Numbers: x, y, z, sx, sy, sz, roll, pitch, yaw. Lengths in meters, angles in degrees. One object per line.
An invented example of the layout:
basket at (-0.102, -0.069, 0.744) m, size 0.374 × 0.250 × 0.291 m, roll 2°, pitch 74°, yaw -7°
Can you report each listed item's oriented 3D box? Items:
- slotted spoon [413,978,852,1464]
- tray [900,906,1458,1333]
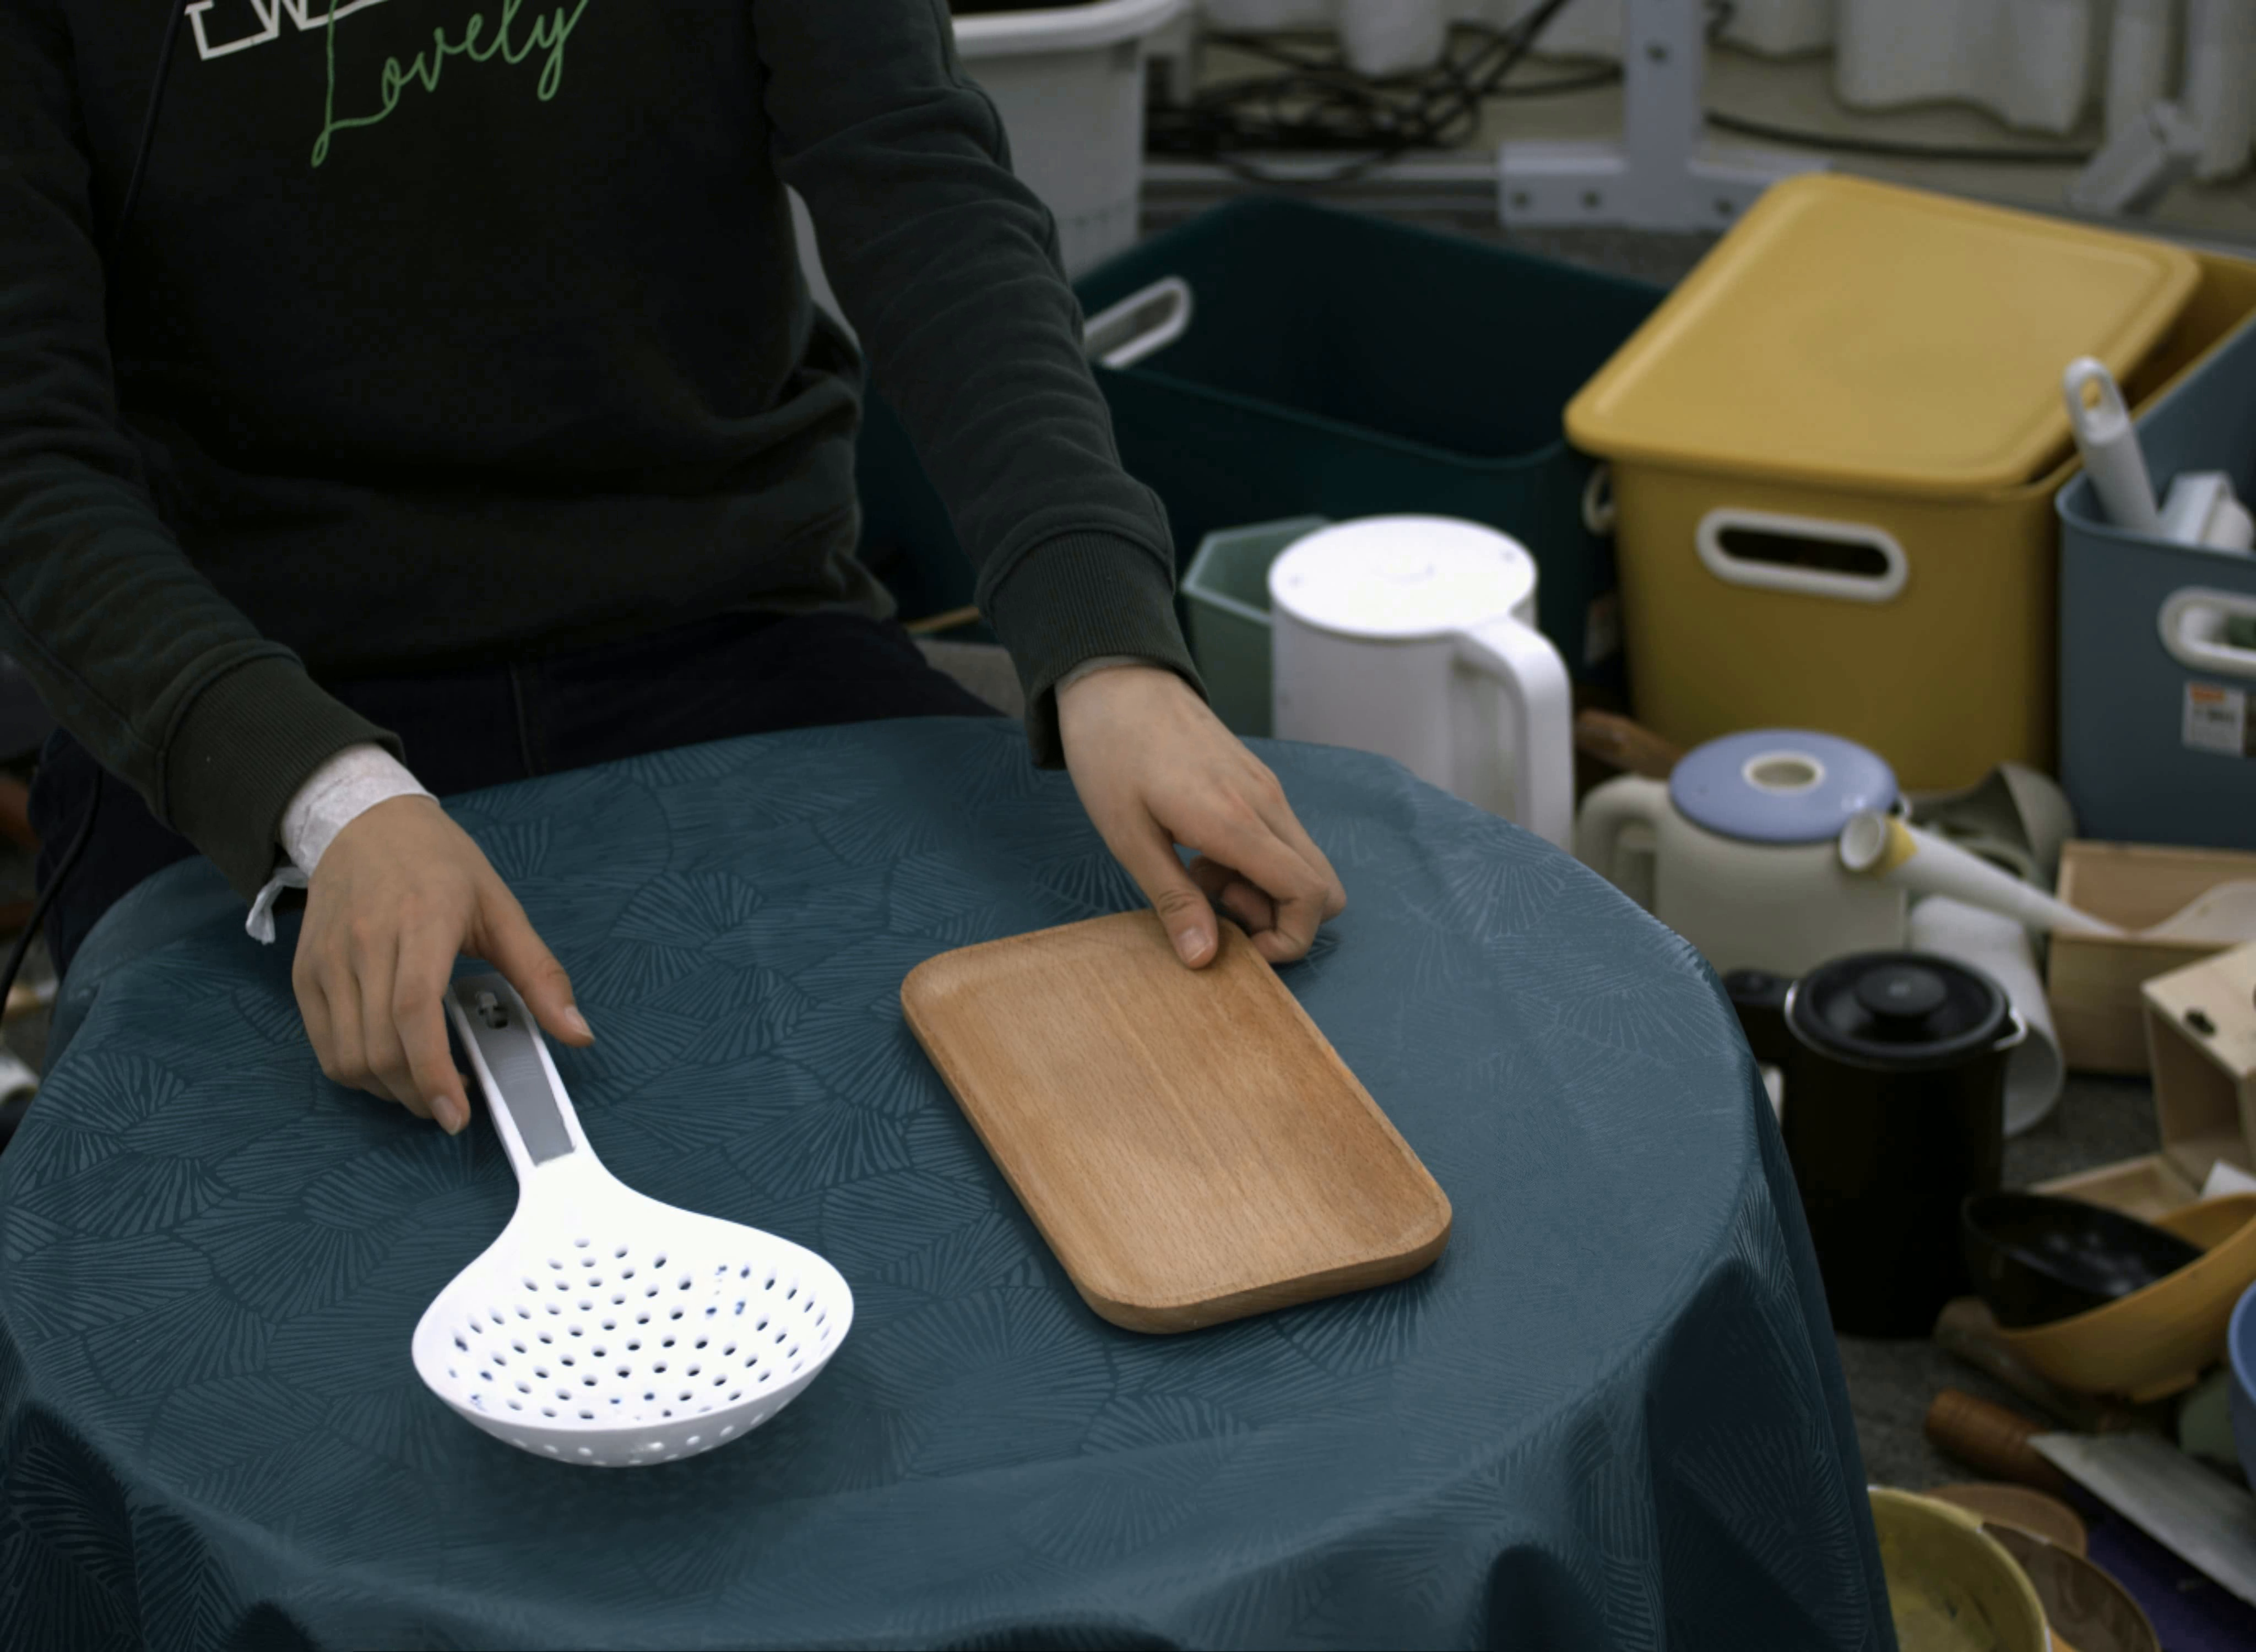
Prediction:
slotted spoon at (-0.182, 0.122, 1.829) m, size 0.136 × 0.045 × 0.353 m, roll -8°, pitch 27°, yaw -14°
tray at (0.013, 0.096, 1.891) m, size 0.131 × 0.022 × 0.253 m, roll -9°, pitch 27°, yaw -16°
